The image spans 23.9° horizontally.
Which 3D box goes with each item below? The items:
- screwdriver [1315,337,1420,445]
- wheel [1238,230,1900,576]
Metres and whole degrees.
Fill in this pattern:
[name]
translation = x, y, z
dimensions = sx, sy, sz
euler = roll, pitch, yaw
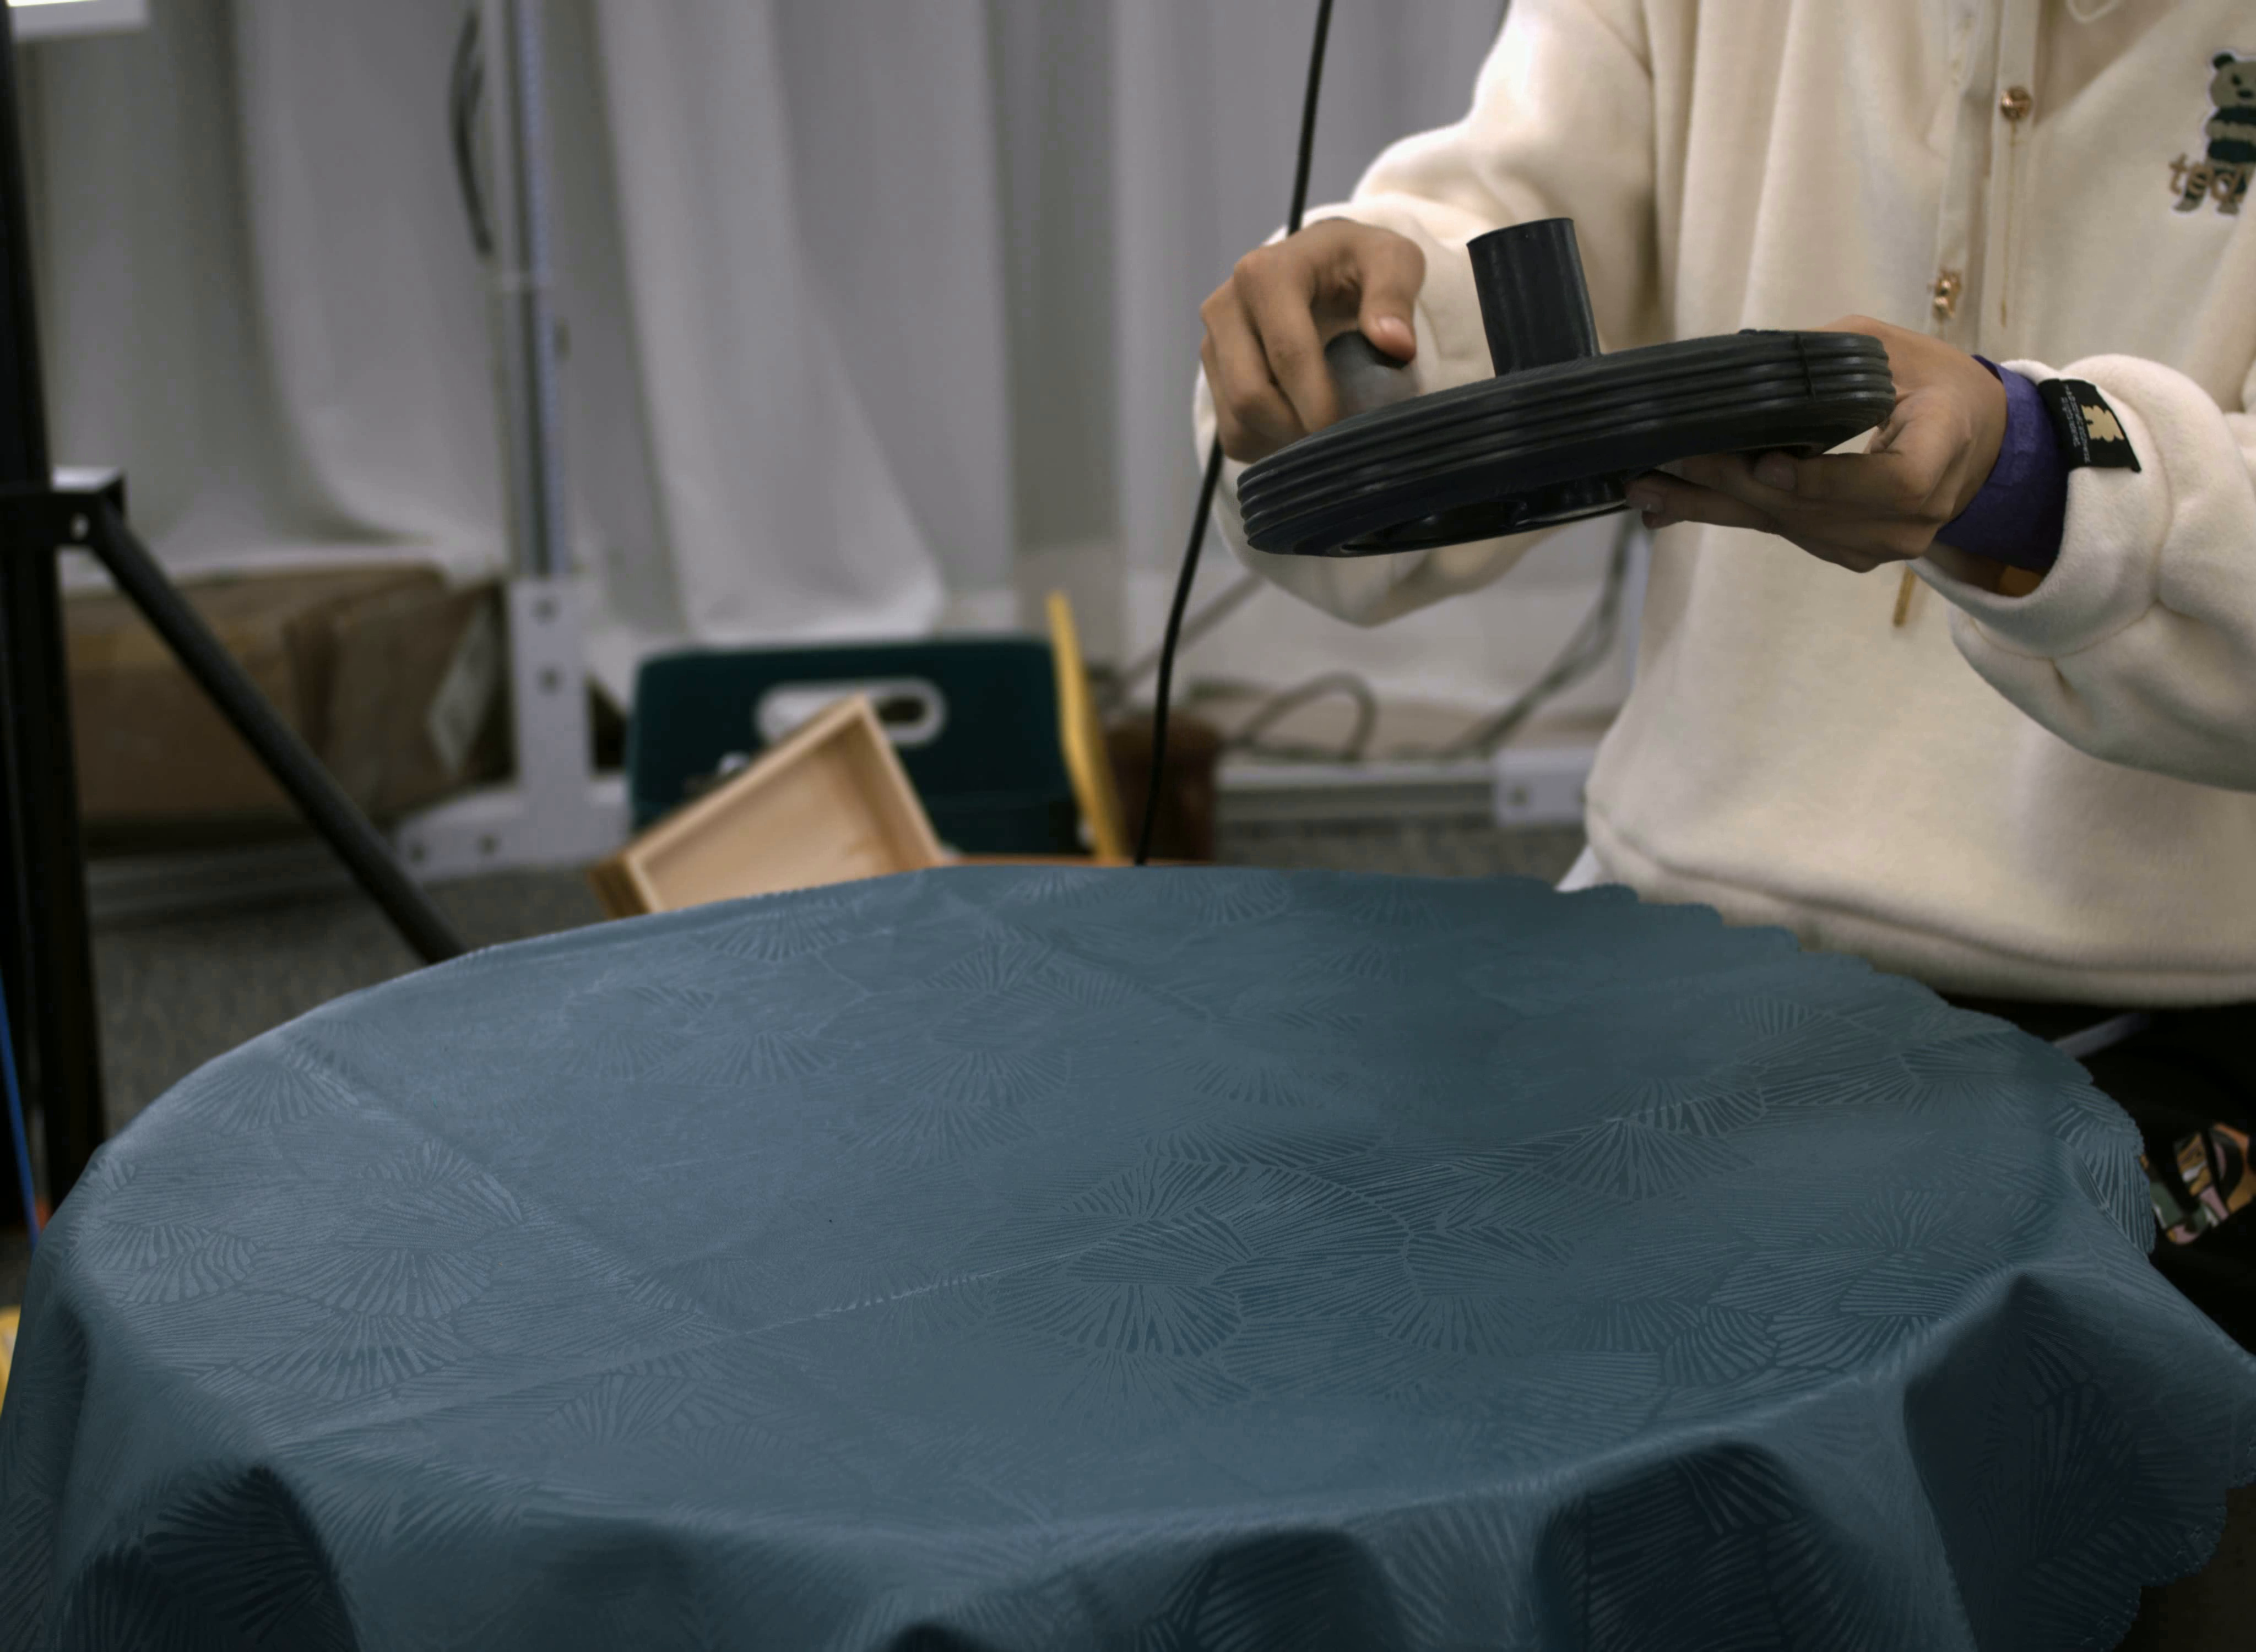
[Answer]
[screwdriver]
translation = 0.080, -0.134, 1.672
dimensions = 0.031, 0.031, 0.197
euler = -3, 9, -3
[wheel]
translation = 0.119, -0.124, 1.499
dimensions = 0.188, 0.079, 0.188
euler = -14, -2, -5
